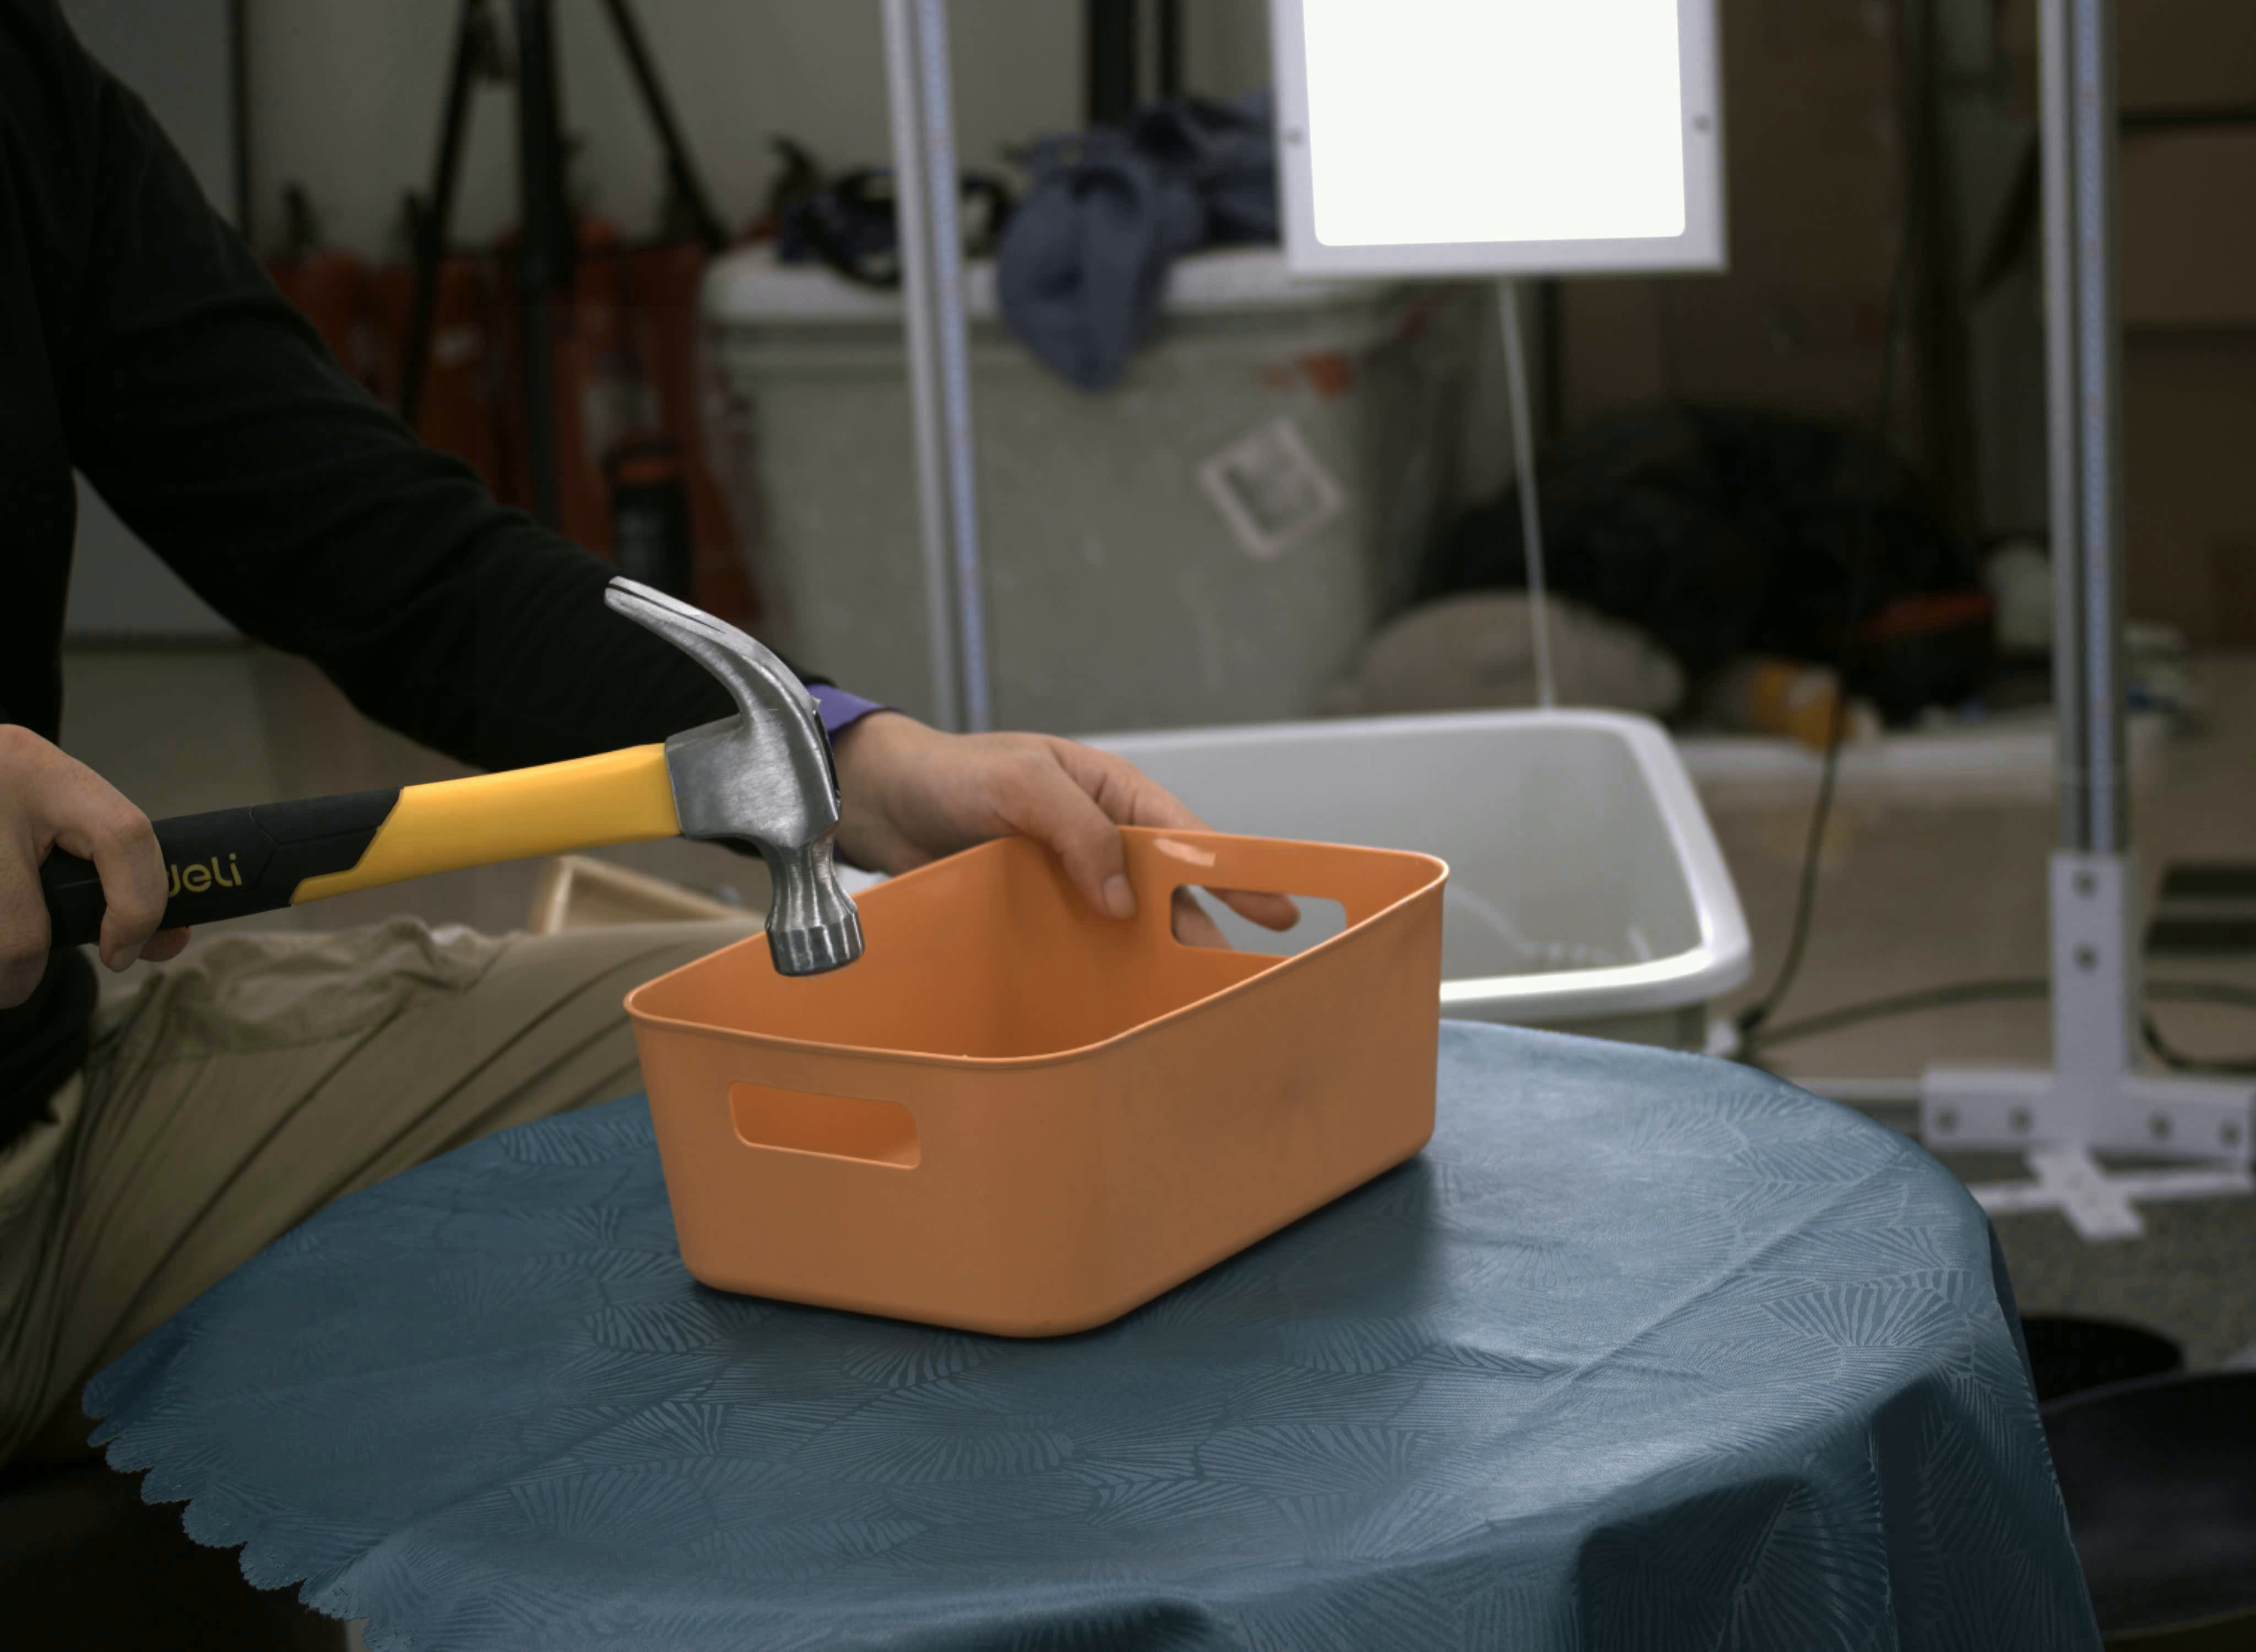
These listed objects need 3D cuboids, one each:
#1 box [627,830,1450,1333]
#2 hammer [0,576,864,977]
[{"bbox_3d":[-0.025,0.084,1.867,0.203,0.103,0.266,4,16,35],"label":"box"},{"bbox_3d":[-0.259,0.008,1.733,0.339,0.132,0.032,-10,13,6],"label":"hammer"}]
